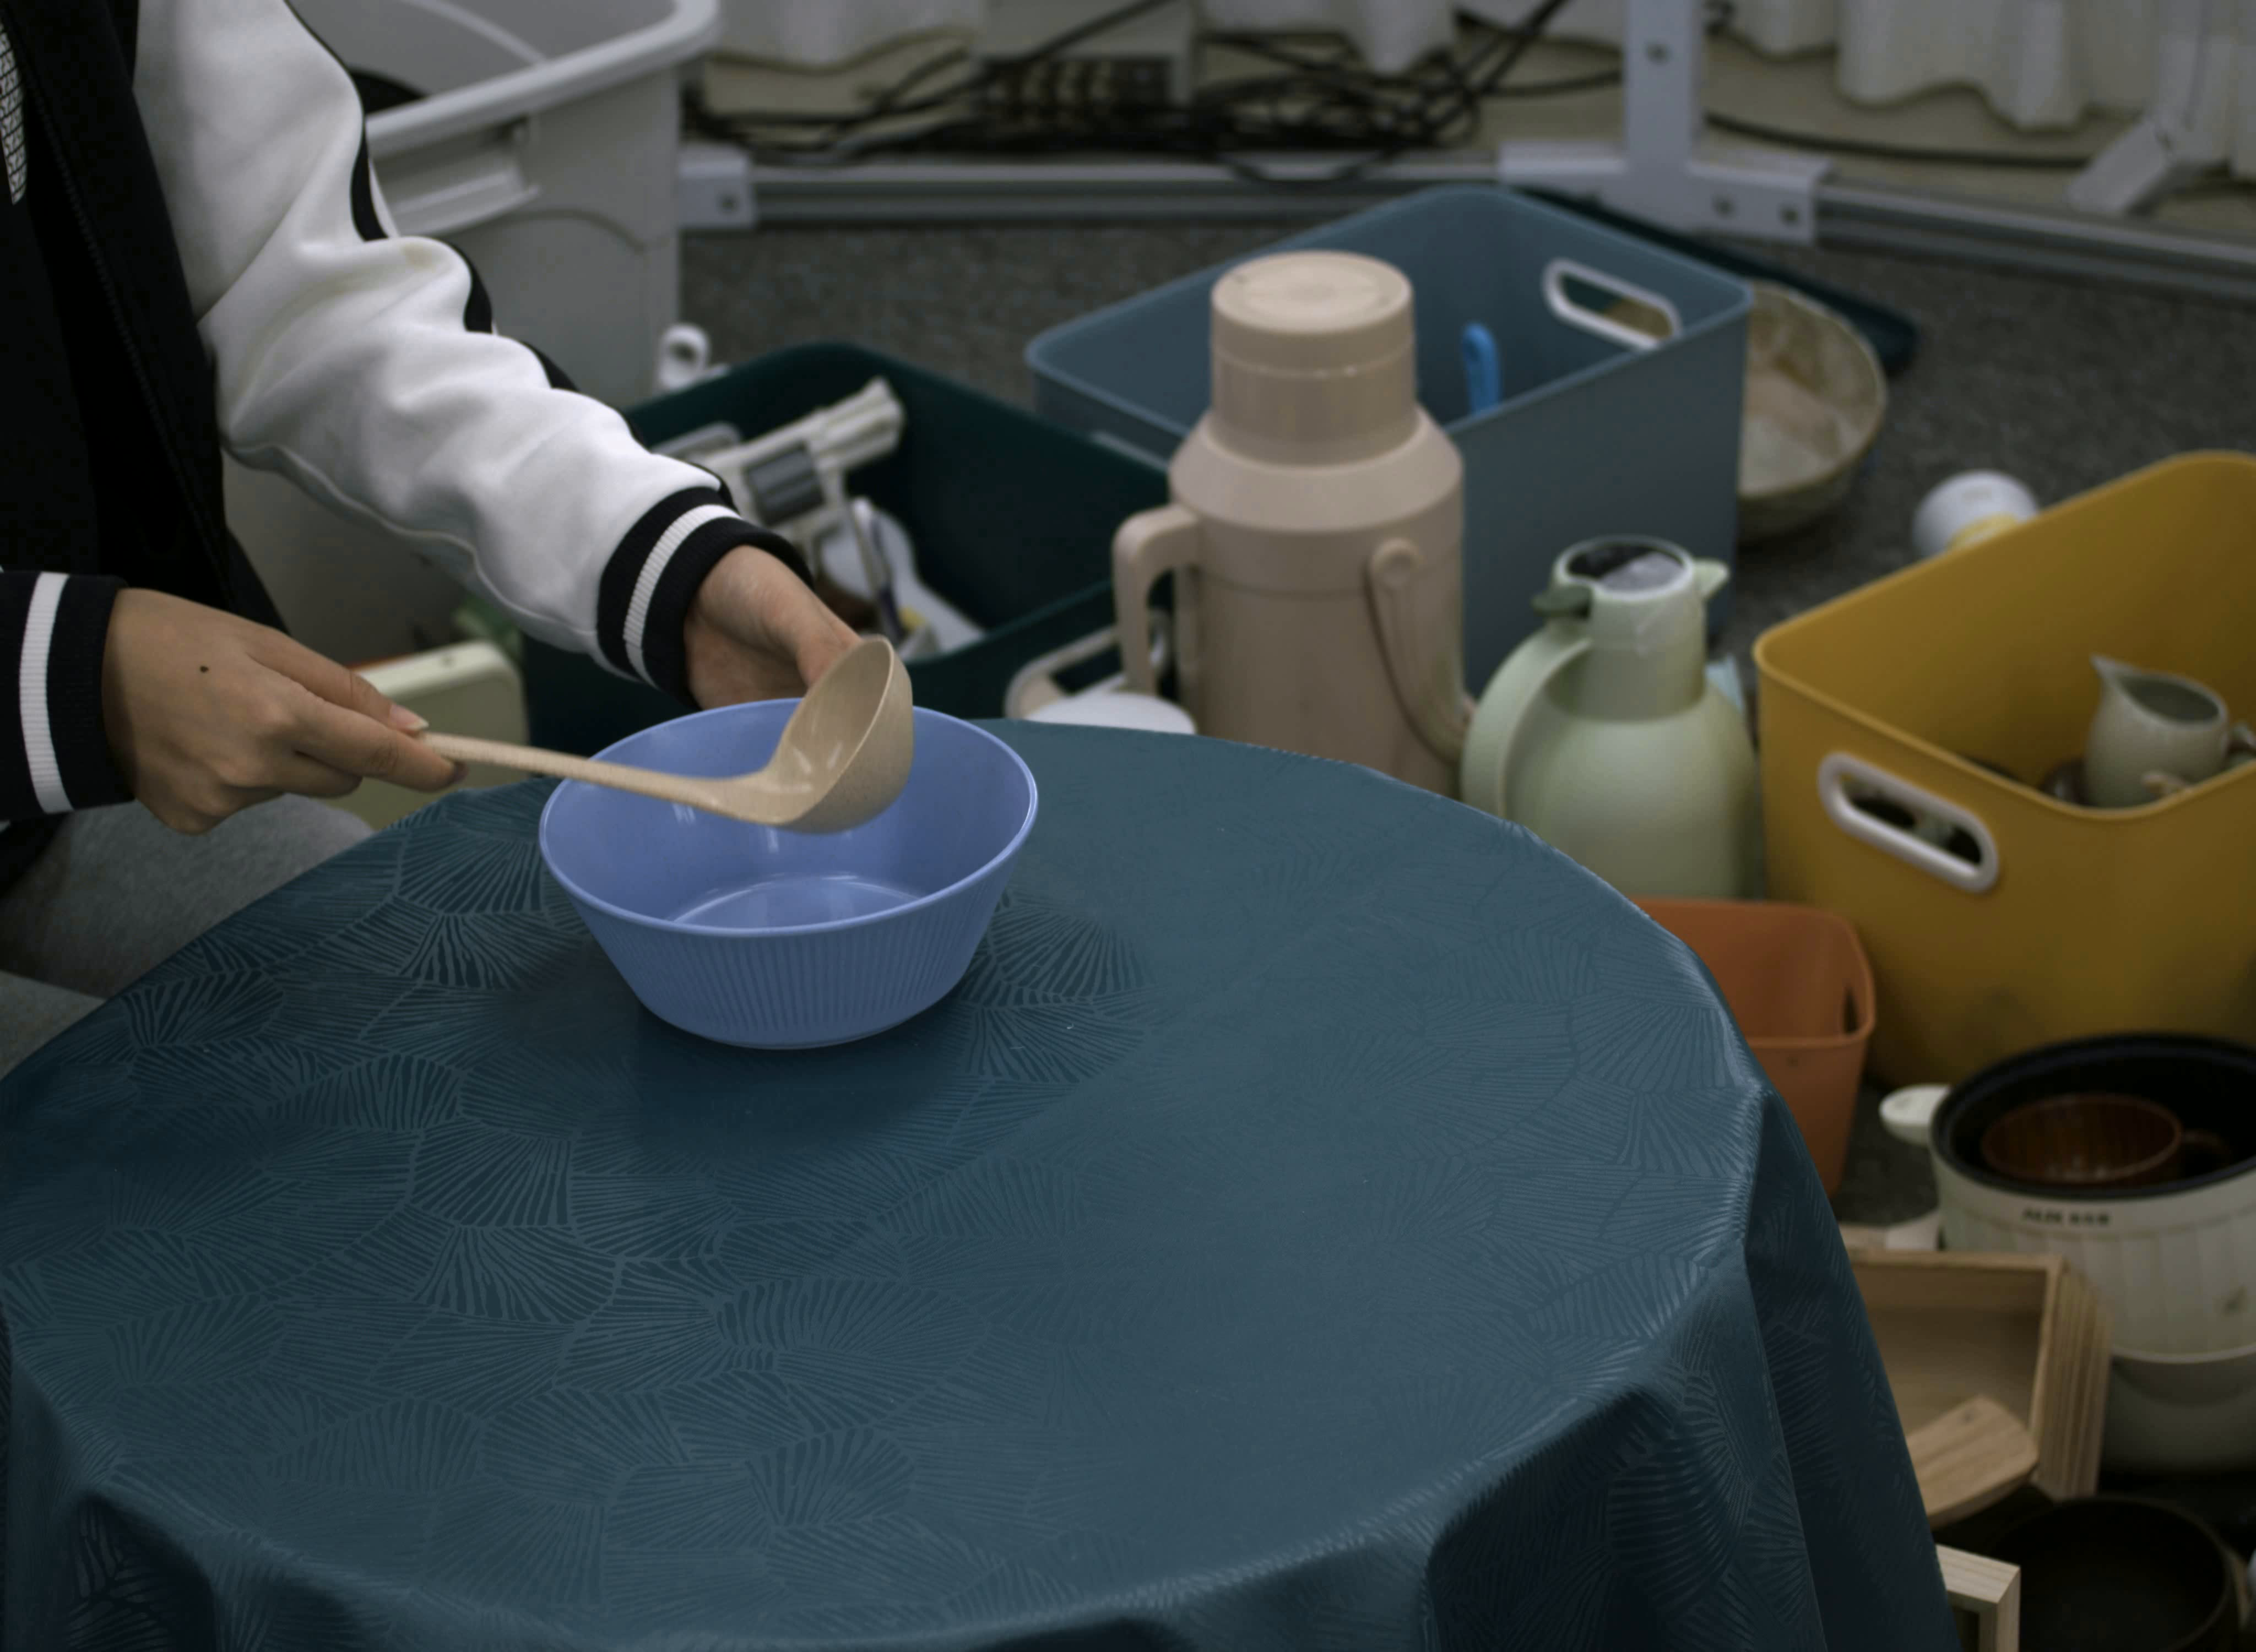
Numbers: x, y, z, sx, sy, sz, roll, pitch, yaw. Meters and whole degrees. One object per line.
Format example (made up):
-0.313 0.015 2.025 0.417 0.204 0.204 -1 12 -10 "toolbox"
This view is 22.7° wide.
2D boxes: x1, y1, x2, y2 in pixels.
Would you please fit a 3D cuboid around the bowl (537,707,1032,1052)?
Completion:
-0.119 0.024 1.986 0.175 0.069 0.179 -2 27 1 "bowl"

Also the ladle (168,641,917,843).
-0.198 -0.041 1.932 0.254 0.072 0.073 7 27 -14 "ladle"
